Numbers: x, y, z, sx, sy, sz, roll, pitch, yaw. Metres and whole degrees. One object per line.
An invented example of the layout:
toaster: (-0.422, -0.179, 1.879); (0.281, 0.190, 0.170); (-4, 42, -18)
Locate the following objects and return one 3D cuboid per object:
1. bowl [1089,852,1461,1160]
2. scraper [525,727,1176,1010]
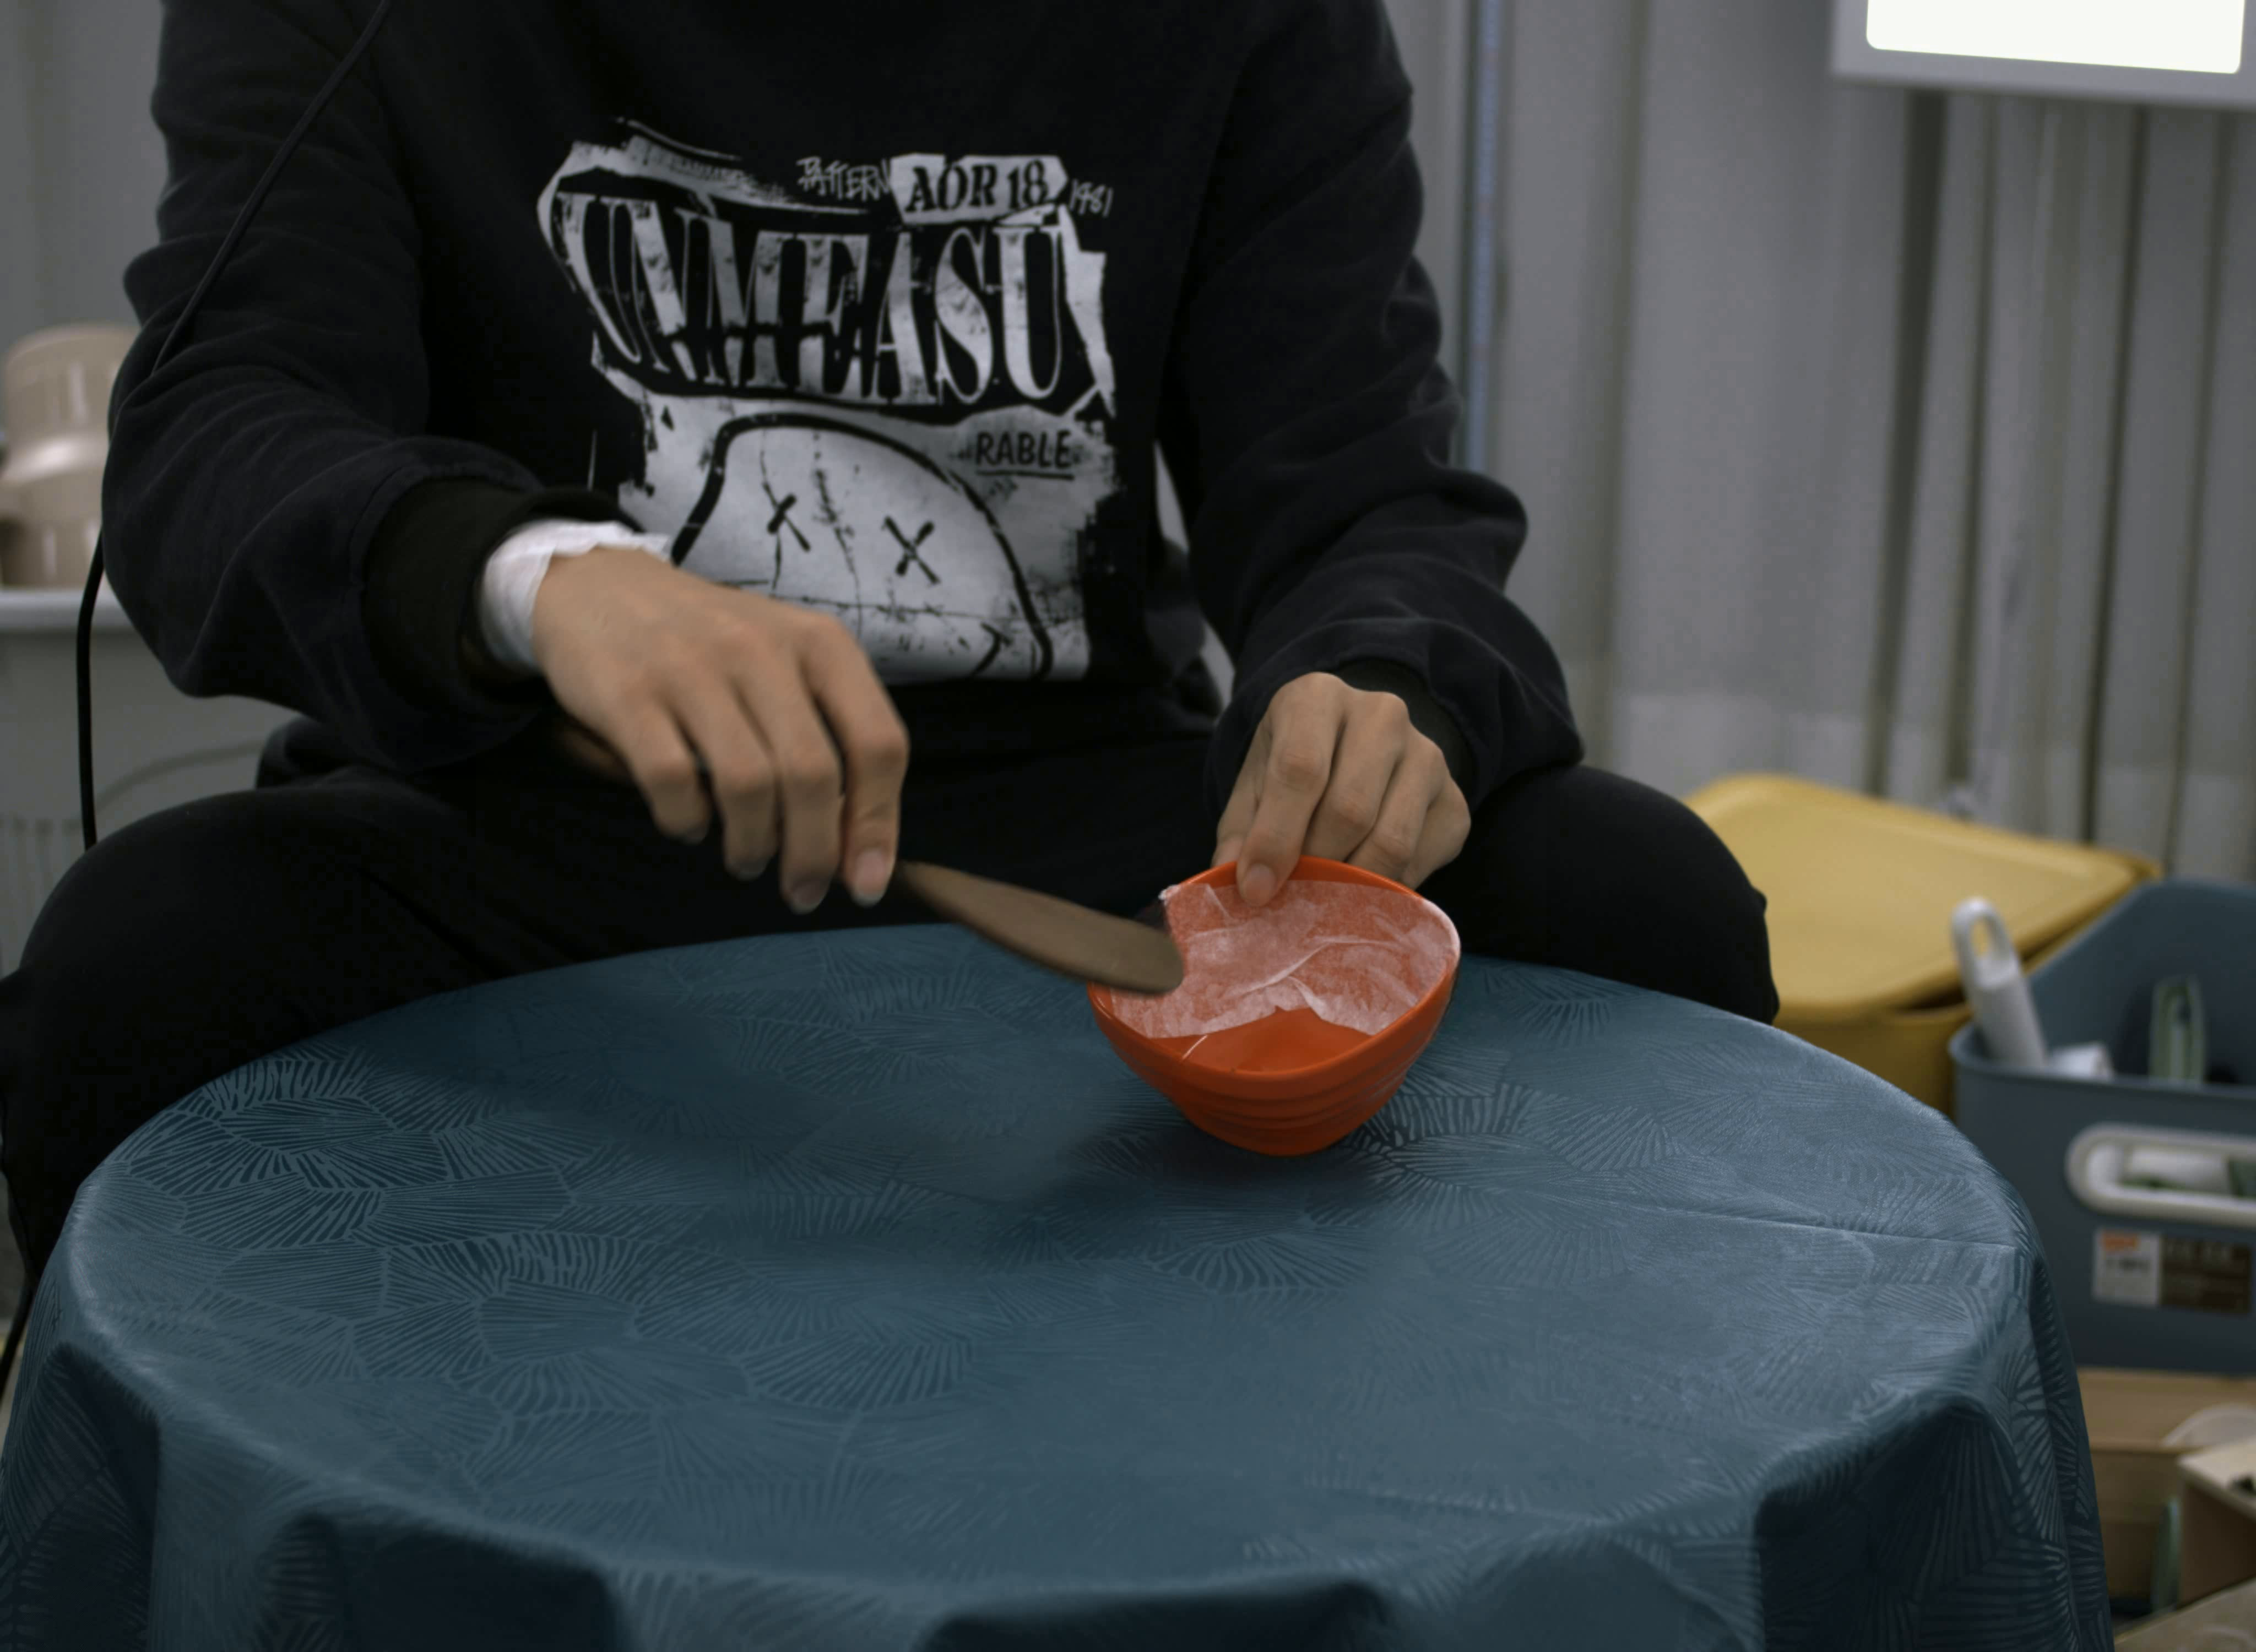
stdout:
bowl: (0.049, 0.063, 1.674); (0.118, 0.052, 0.118); (-5, 37, 4)
scraper: (-0.084, 0.012, 1.604); (0.211, 0.011, 0.075); (22, 15, -5)
